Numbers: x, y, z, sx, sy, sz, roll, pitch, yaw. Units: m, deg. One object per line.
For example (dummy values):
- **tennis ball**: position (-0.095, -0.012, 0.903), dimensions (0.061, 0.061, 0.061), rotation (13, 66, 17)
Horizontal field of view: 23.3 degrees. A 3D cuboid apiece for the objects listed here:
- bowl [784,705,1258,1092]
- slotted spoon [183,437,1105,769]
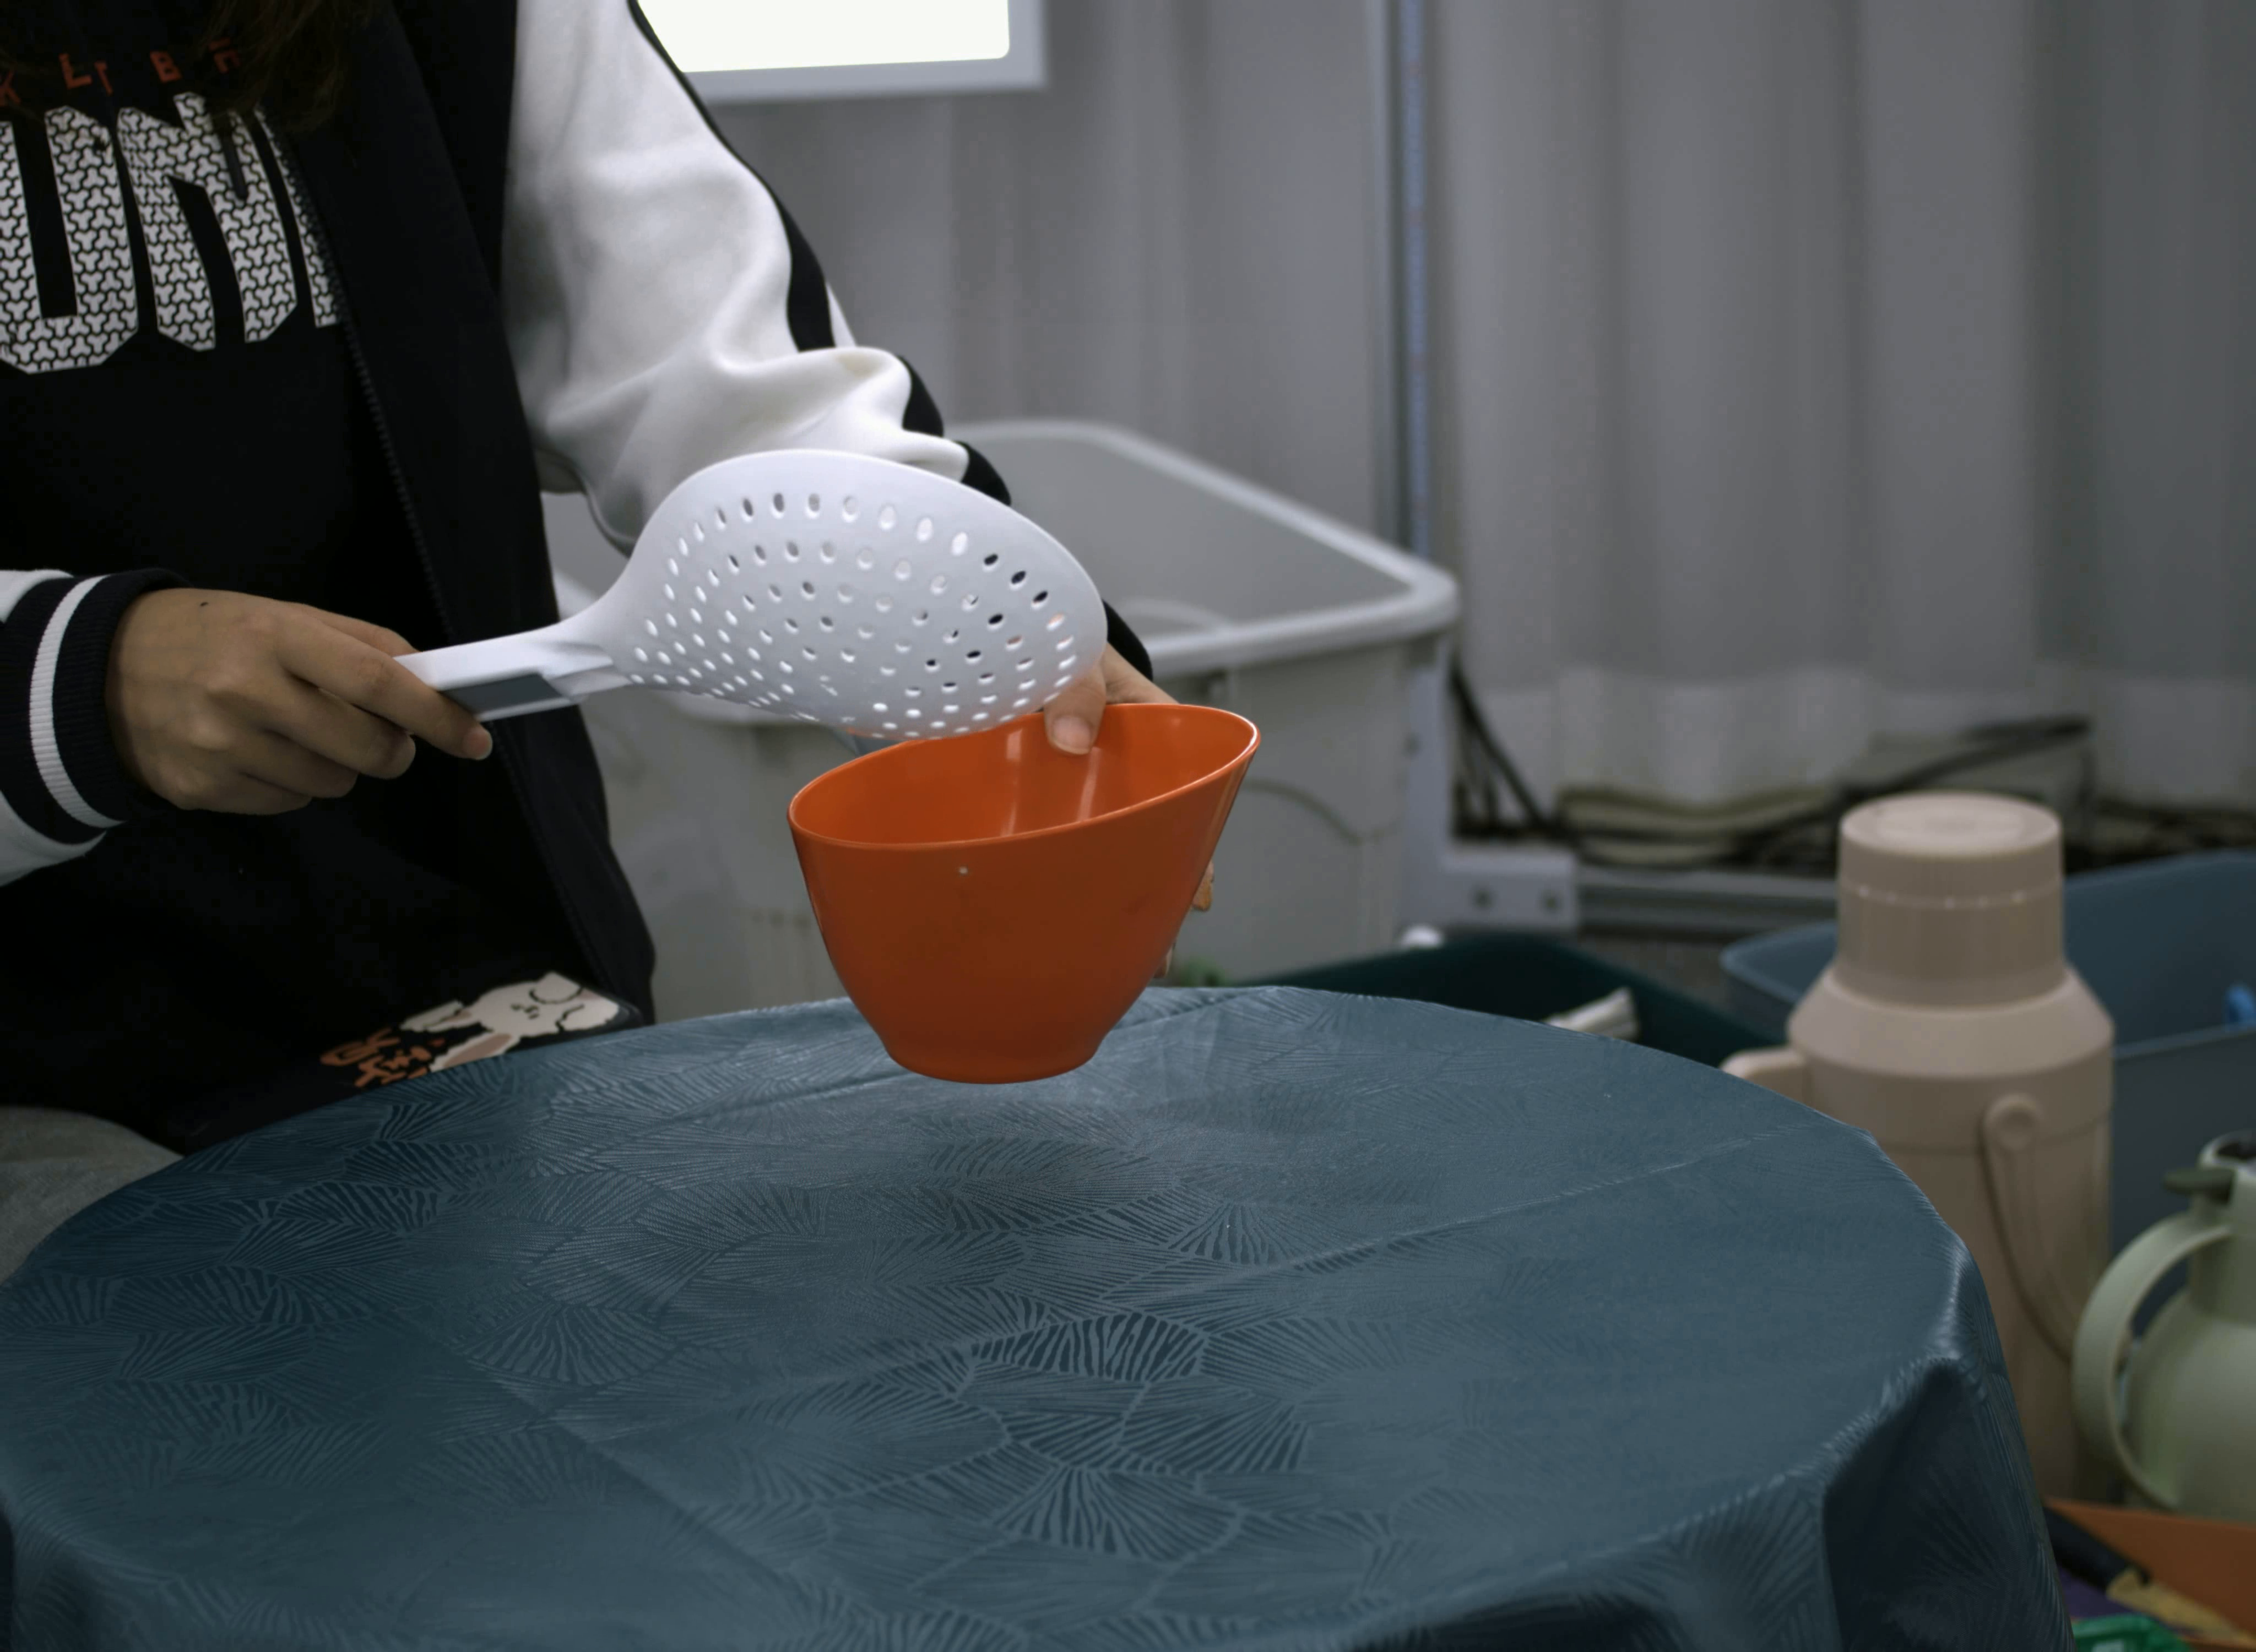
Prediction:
- **bowl**: position (-0.033, 0.024, 1.697), dimensions (0.147, 0.104, 0.149), rotation (-1, 18, 0)
- **slotted spoon**: position (-0.160, -0.053, 1.665), dimensions (0.350, 0.046, 0.134), rotation (-5, -35, 39)
